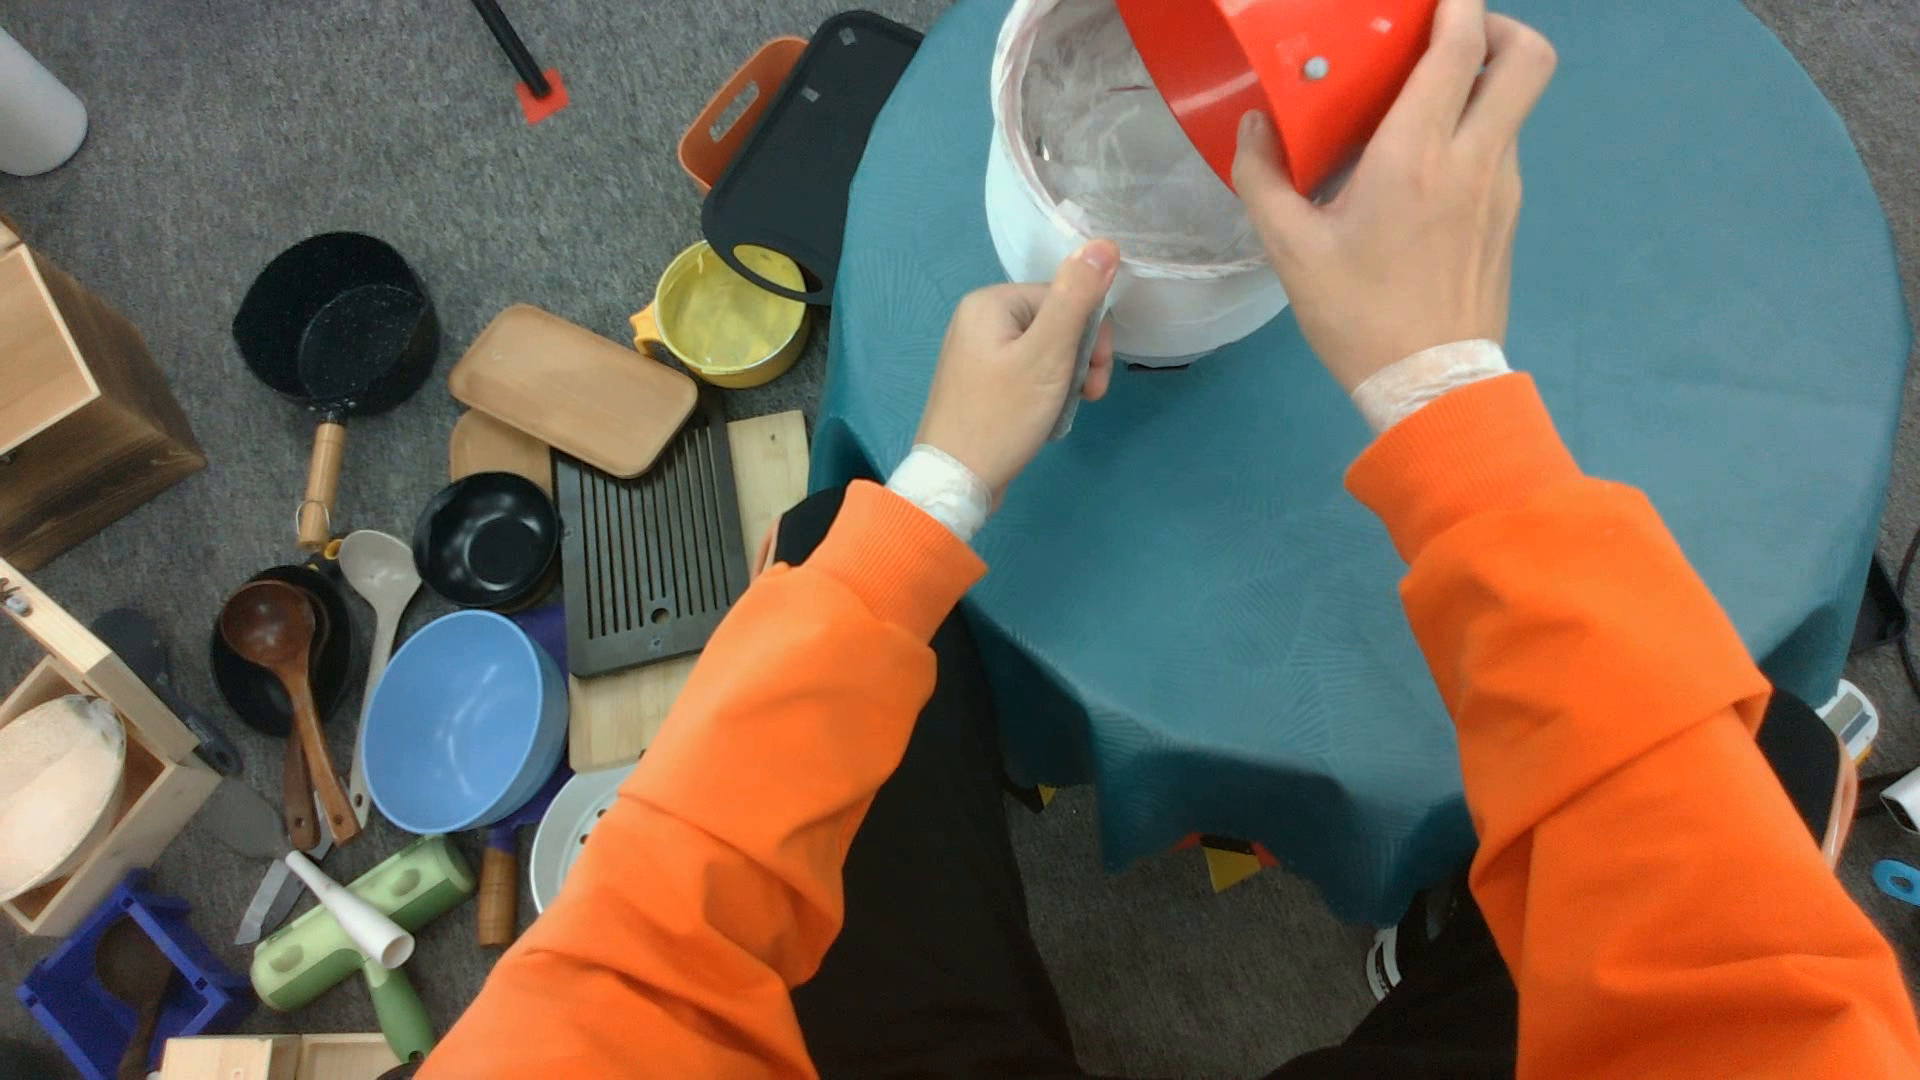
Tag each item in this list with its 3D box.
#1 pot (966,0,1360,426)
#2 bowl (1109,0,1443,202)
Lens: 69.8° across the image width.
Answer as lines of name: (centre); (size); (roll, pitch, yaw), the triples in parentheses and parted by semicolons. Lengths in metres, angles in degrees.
pot: (0.079, -0.169, 0.670); (0.179, 0.136, 0.234); (26, 78, 4)
bowl: (0.130, -0.222, 0.568); (0.104, 0.148, 0.148); (-25, 71, 4)
